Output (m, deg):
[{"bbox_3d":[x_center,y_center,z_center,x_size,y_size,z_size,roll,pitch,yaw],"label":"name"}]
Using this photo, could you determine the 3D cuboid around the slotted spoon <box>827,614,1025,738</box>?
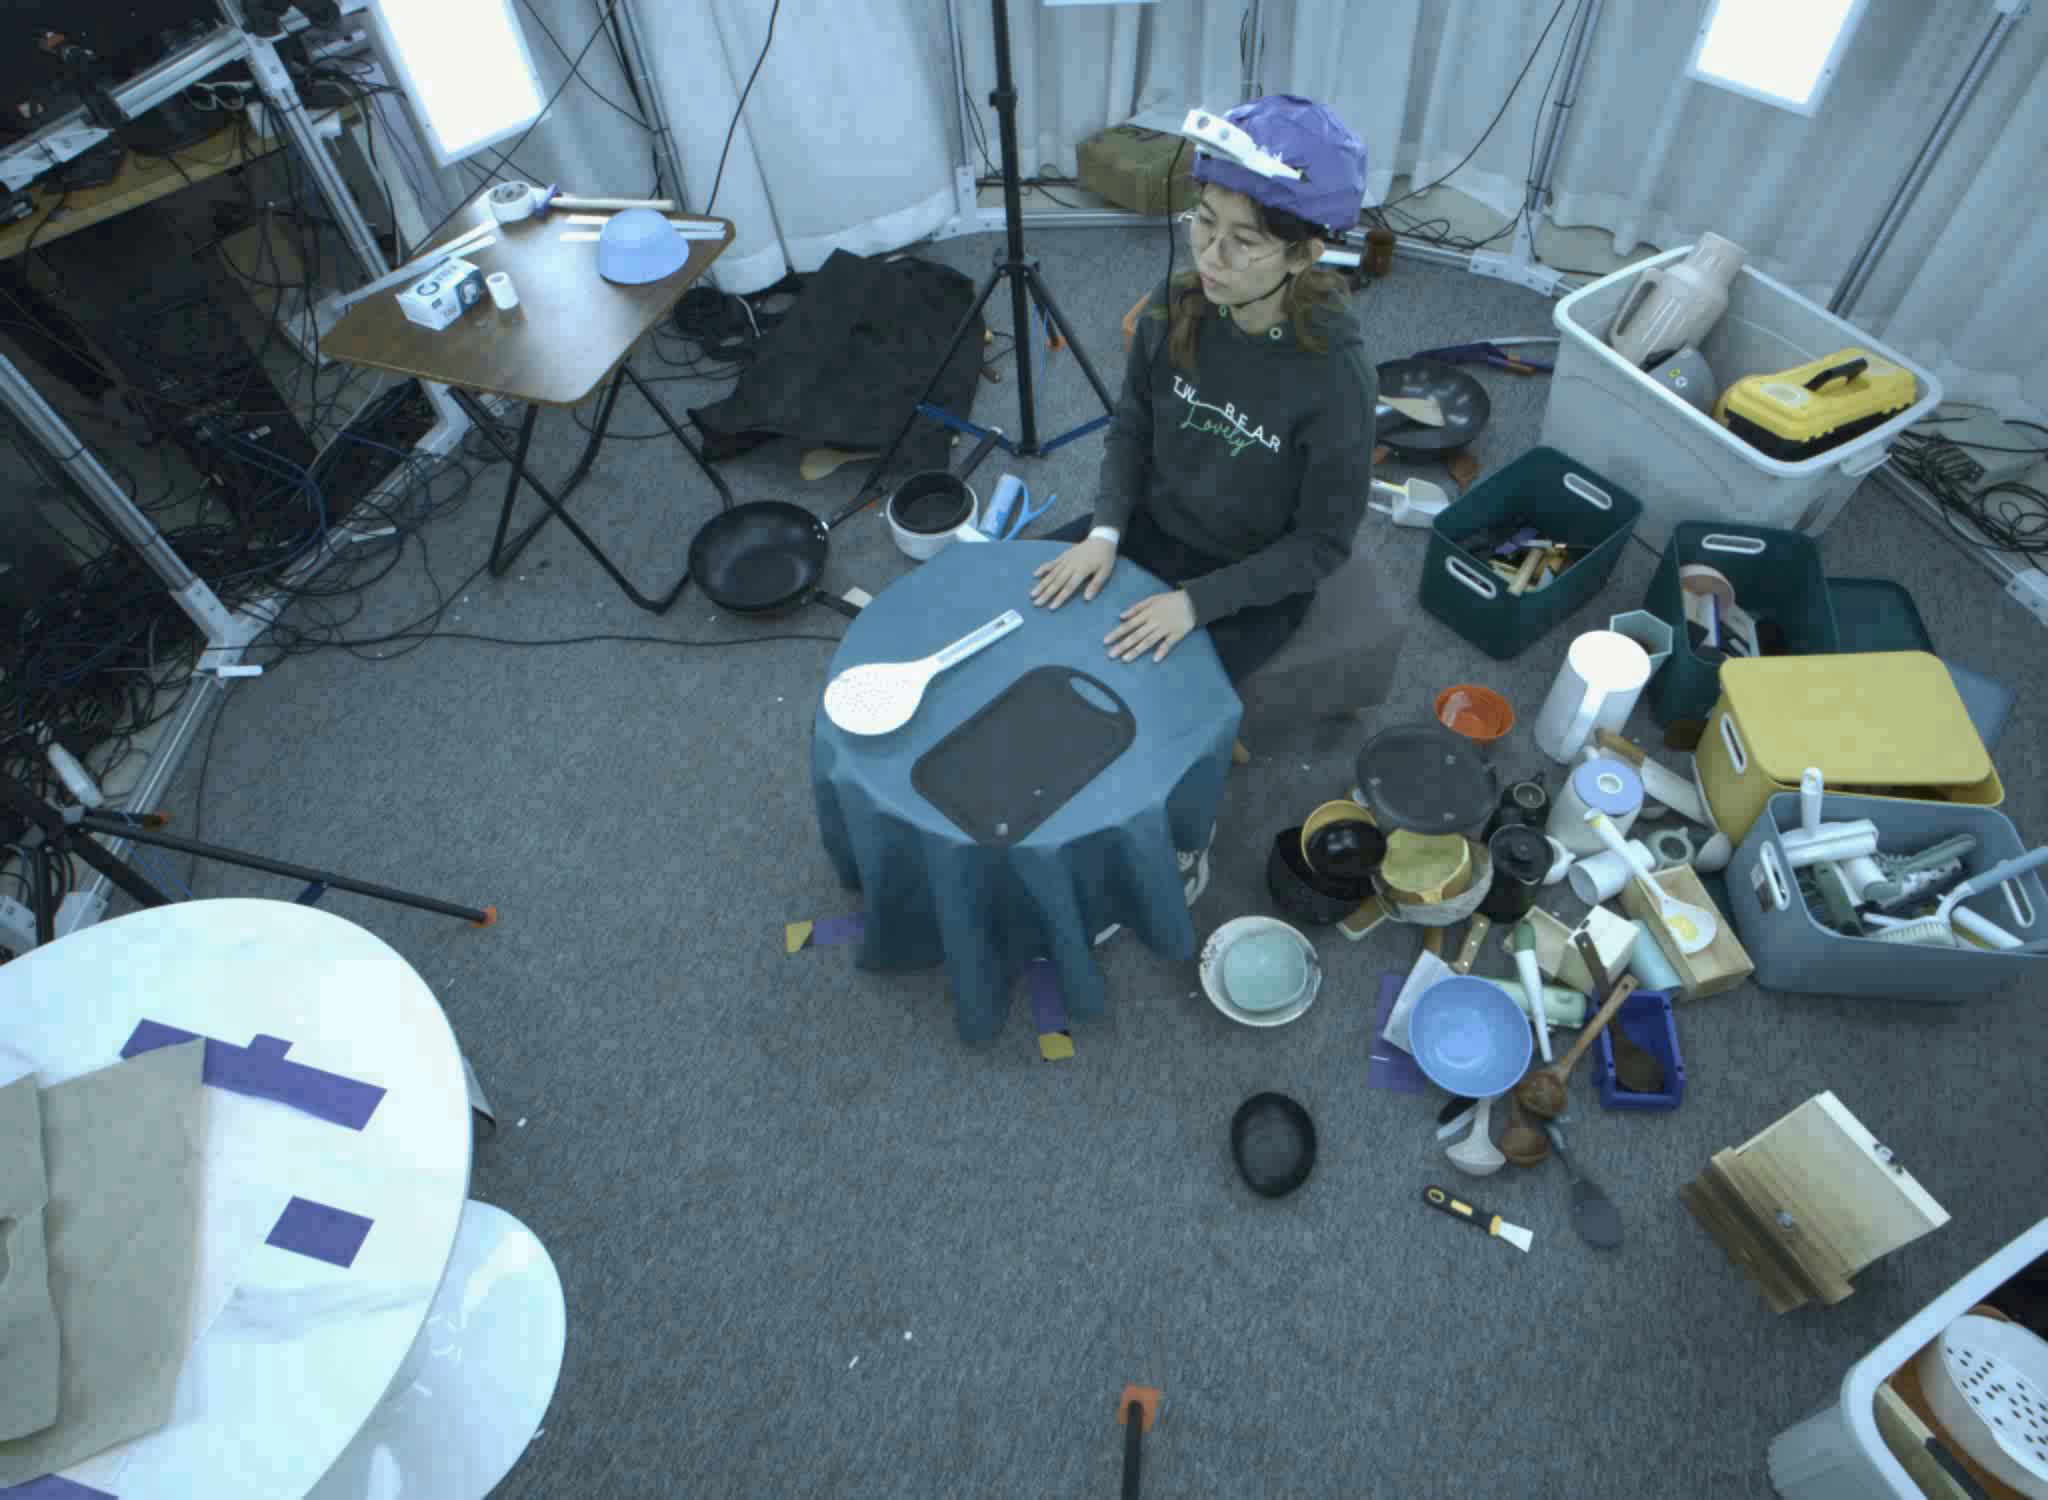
[{"bbox_3d":[-0.141,-0.121,1.859,0.352,0.046,0.133,-35,63,-22],"label":"slotted spoon"}]

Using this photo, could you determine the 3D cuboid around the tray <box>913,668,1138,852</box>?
[{"bbox_3d":[0.009,0.002,1.792,0.207,0.010,0.328,39,64,25],"label":"tray"}]
